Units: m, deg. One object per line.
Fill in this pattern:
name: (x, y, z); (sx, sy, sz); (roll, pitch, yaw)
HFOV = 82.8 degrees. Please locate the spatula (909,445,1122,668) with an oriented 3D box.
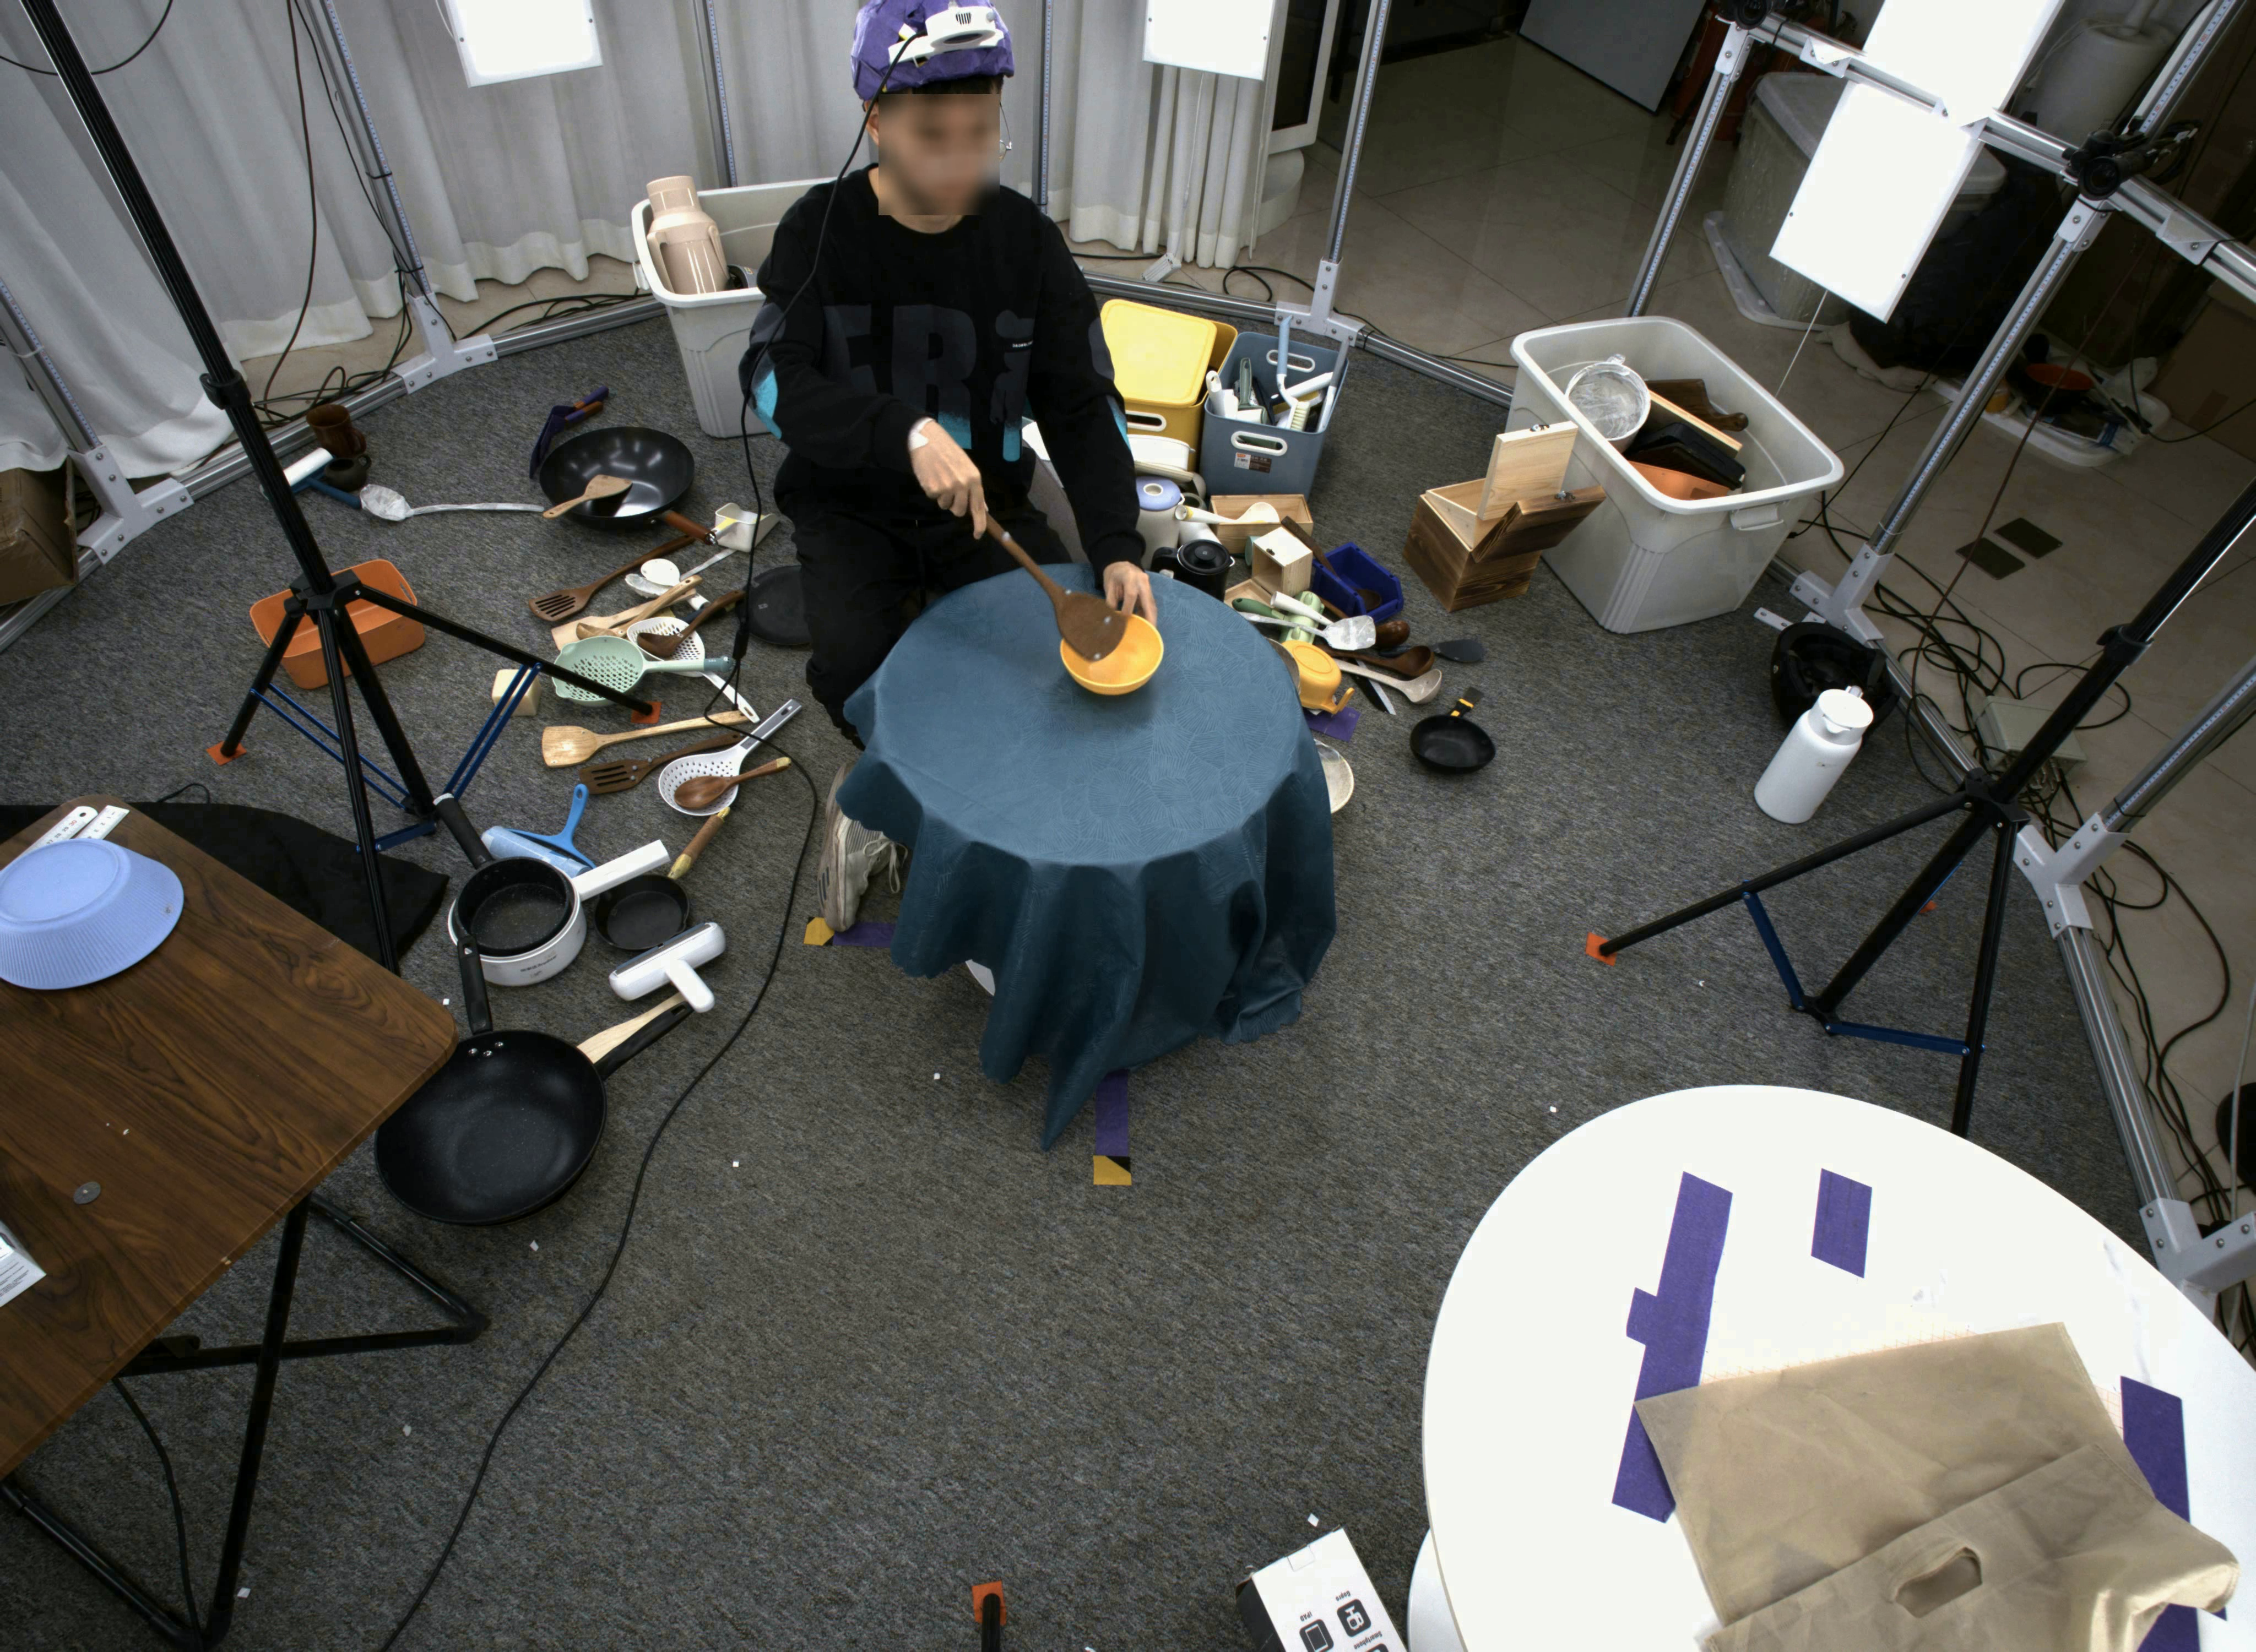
spatula: (-0.156, -0.374, 1.768); (0.382, 0.015, 0.097); (46, 58, -12)

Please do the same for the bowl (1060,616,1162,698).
bowl: (-0.026, -0.231, 1.845); (0.145, 0.058, 0.149); (2, 51, -2)
